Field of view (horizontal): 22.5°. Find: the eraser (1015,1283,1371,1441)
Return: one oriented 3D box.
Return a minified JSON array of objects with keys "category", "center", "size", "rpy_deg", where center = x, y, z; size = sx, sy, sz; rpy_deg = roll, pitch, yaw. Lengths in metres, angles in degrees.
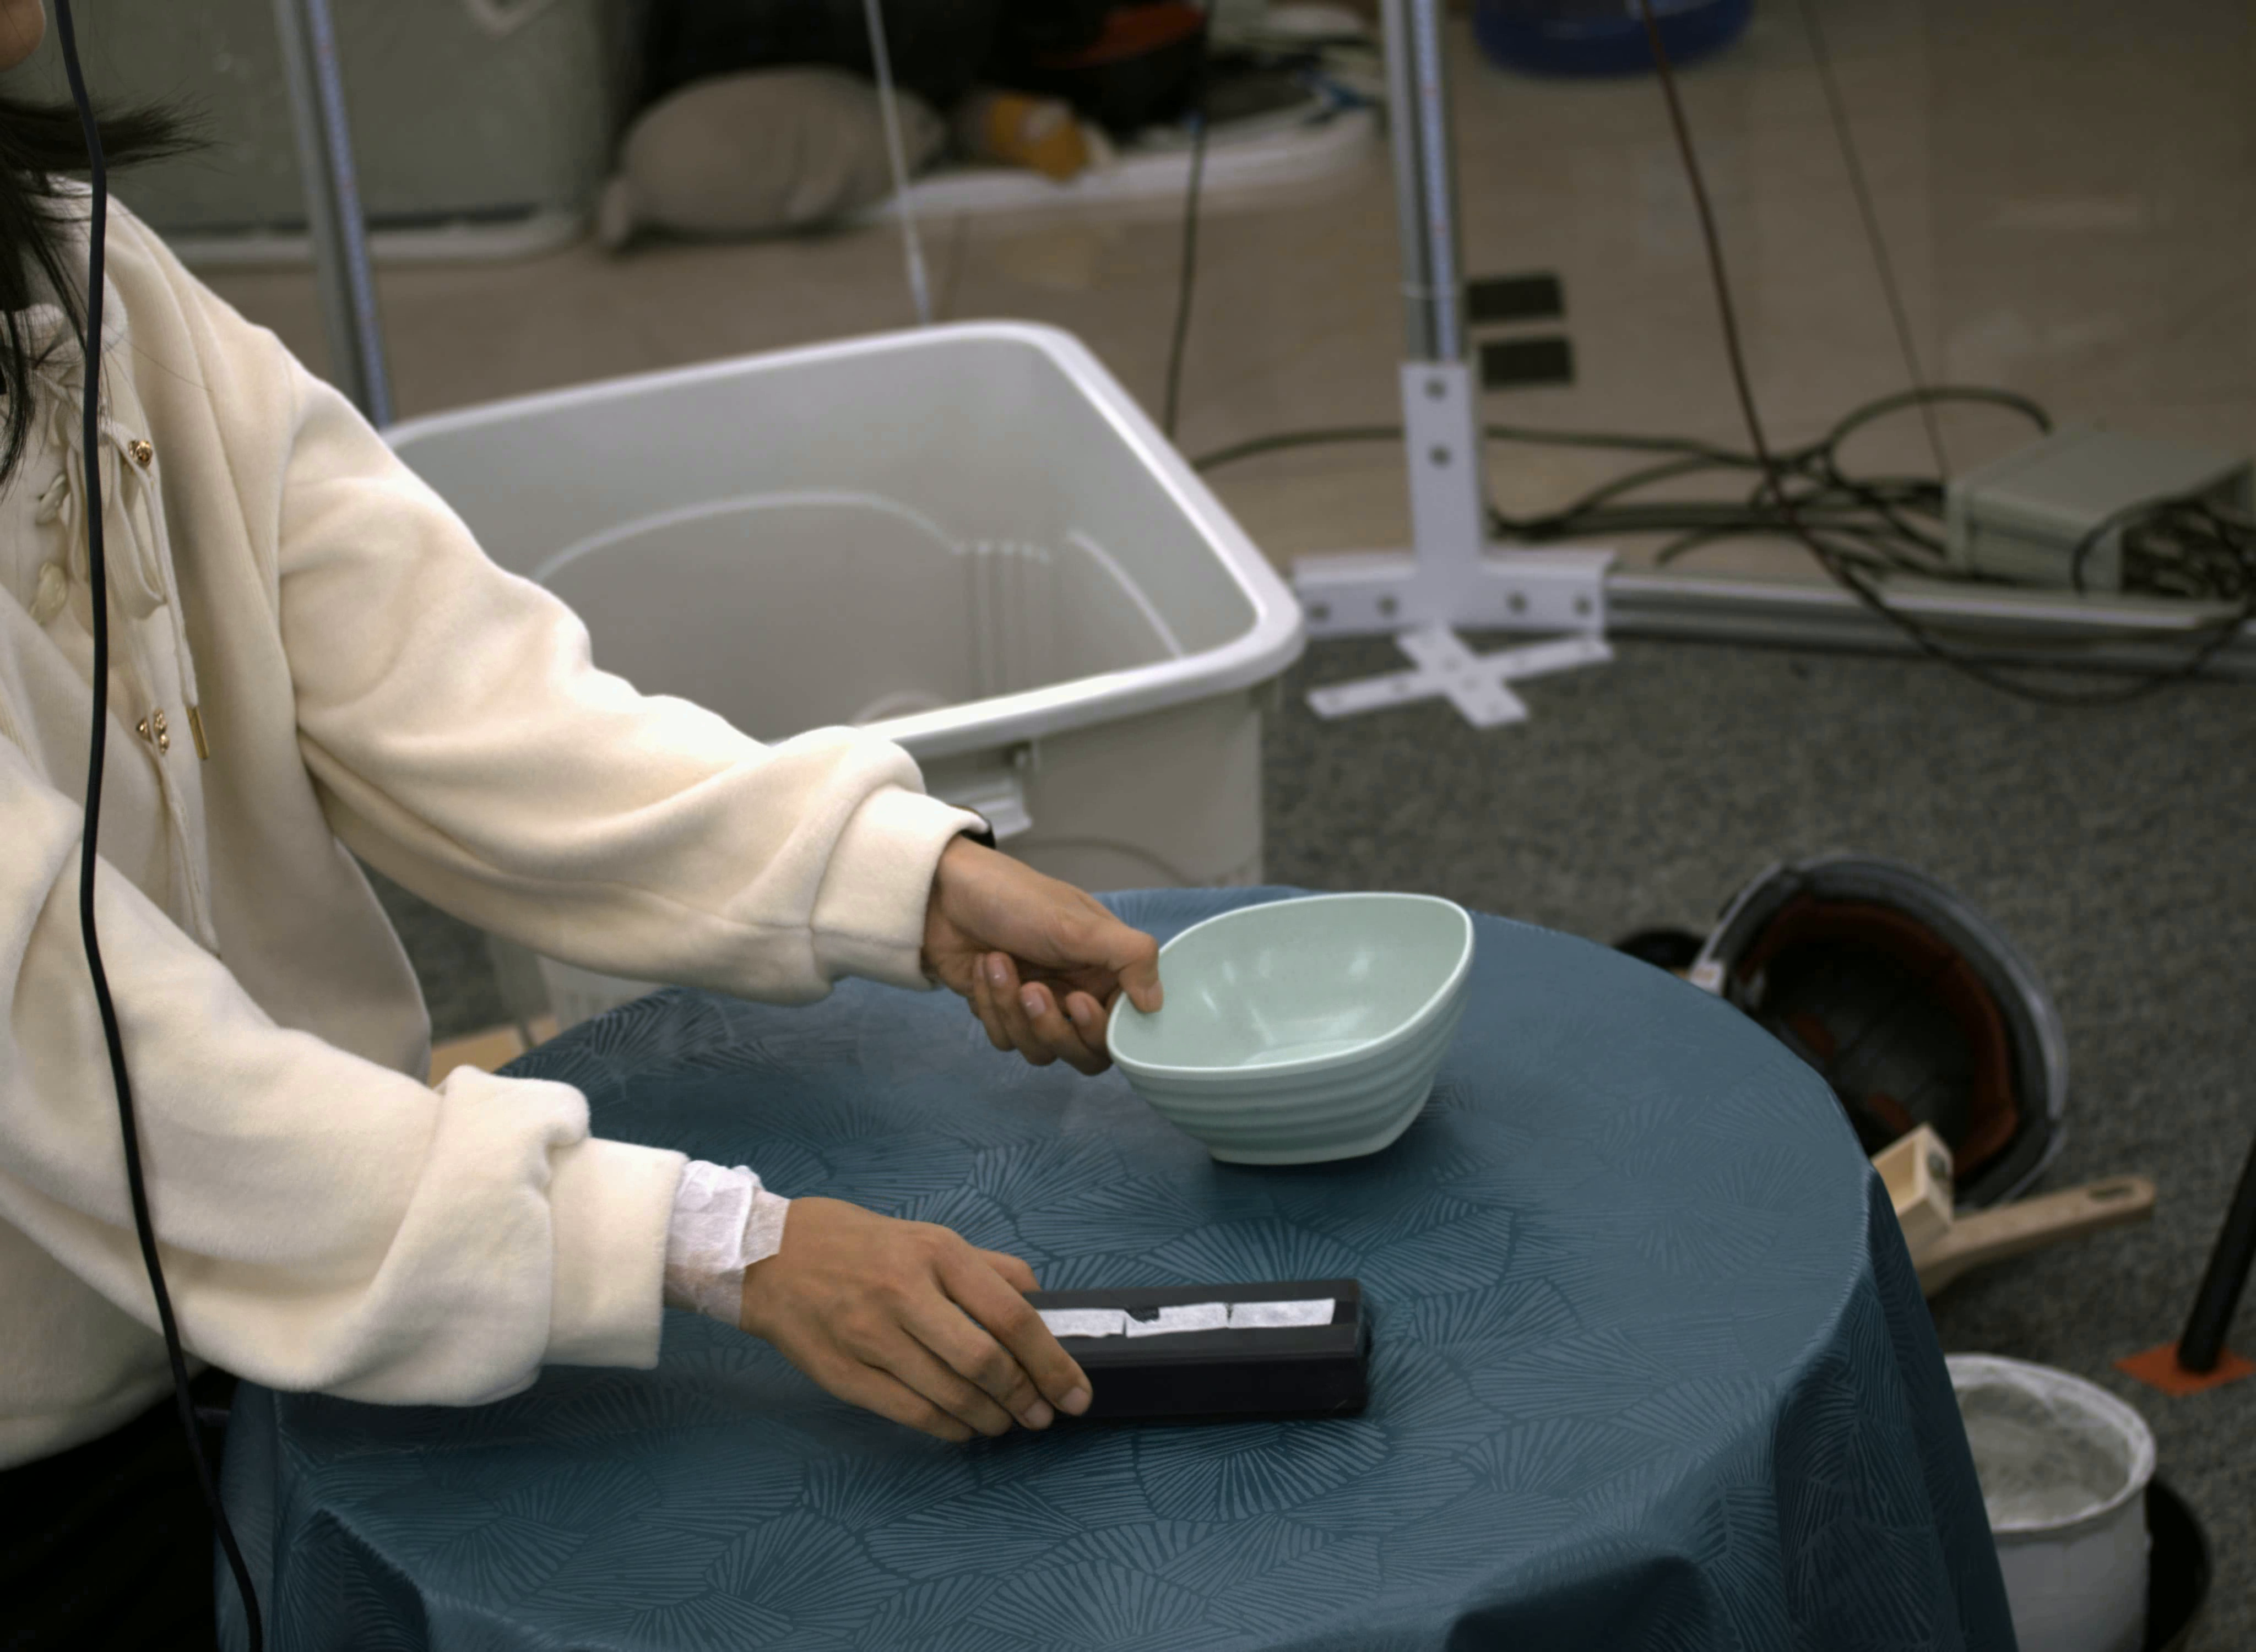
[{"category":"eraser","center":[0.024,0.188,2.001],"size":[0.125,0.031,0.053],"rpy_deg":[-5,26,5]}]

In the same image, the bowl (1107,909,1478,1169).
[{"category":"bowl","center":[0.068,0.086,2.164],"size":[0.151,0.059,0.149],"rpy_deg":[-11,22,5]}]
